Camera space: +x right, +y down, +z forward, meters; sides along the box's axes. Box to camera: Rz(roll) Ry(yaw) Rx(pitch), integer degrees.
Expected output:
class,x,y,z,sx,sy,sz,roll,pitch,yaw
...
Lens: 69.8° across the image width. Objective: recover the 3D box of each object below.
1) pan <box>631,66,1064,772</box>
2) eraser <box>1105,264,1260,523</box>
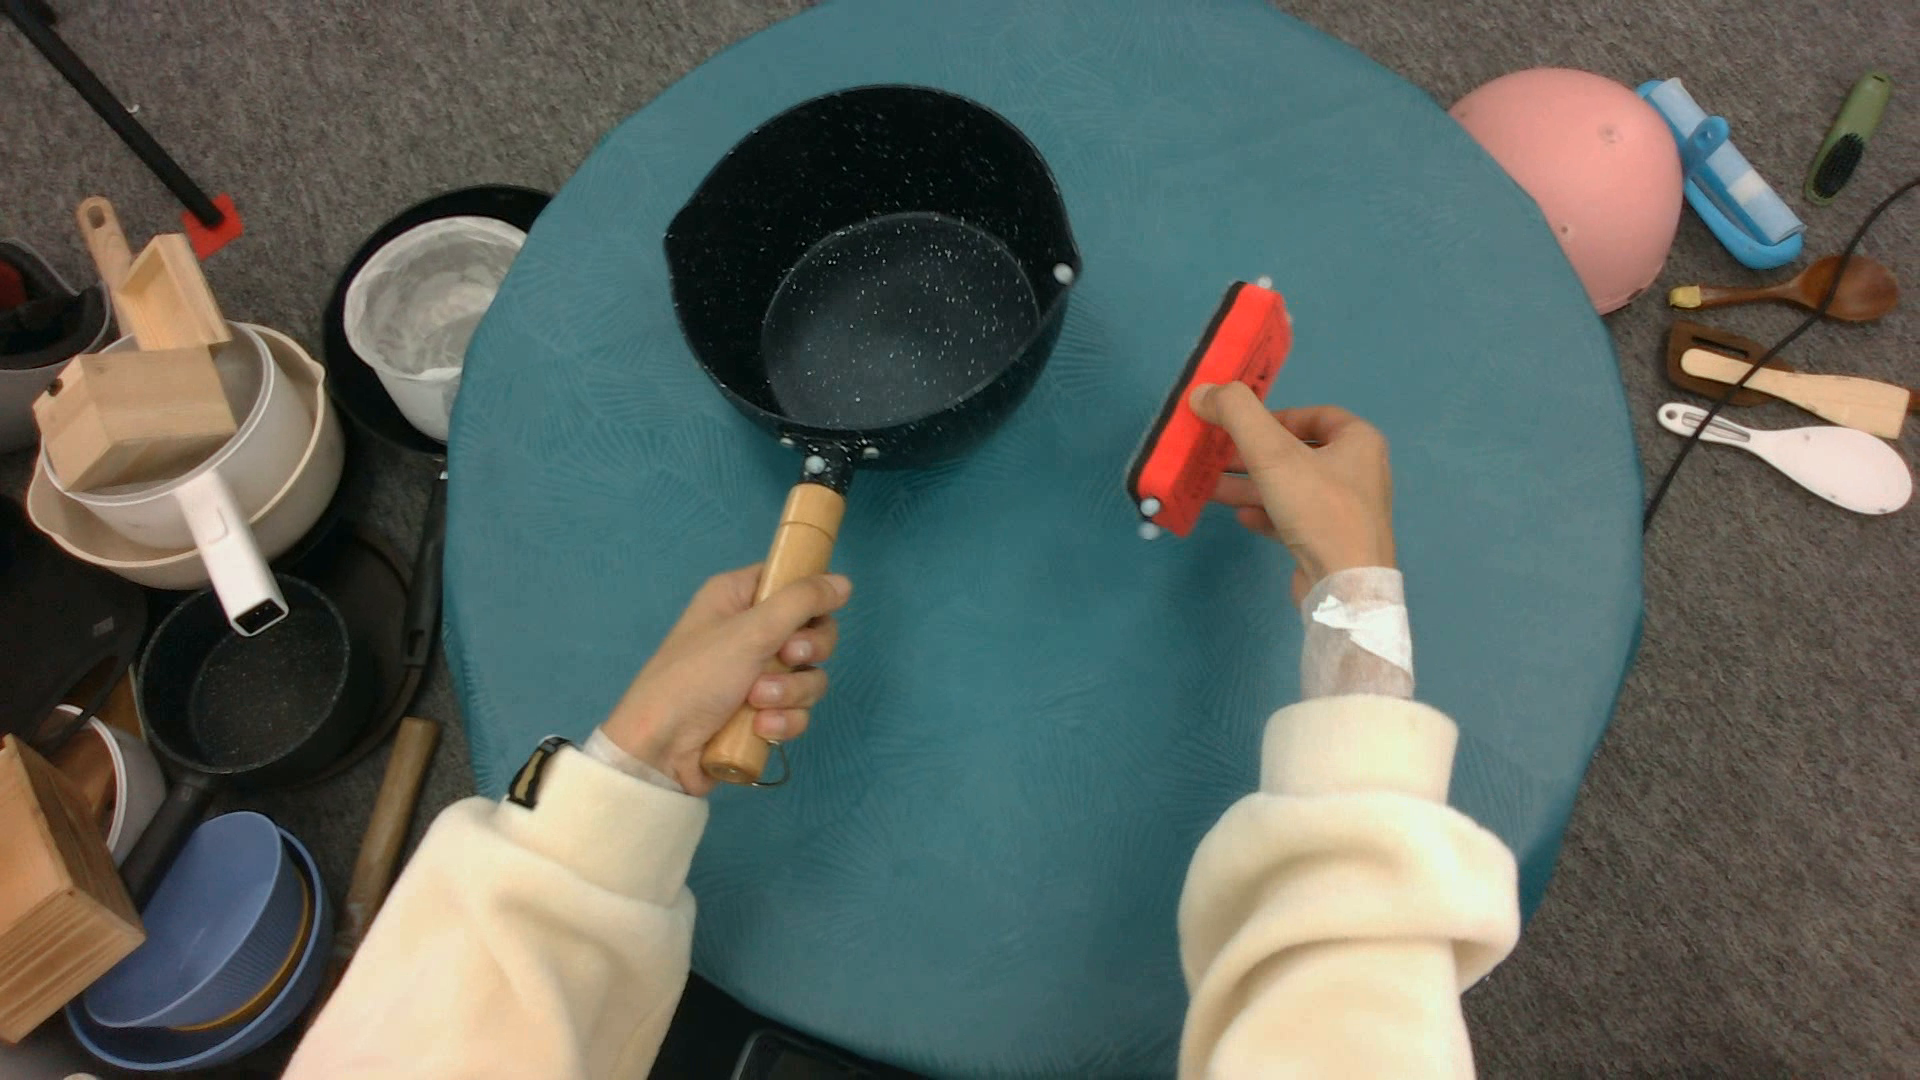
class,x,y,z,sx,sy,sz,roll,pitch,yaw
pan,-0.059,-0.054,0.625,0.207,0.108,0.344,3,68,13
eraser,0.099,-0.064,0.605,0.023,0.059,0.108,24,77,20
